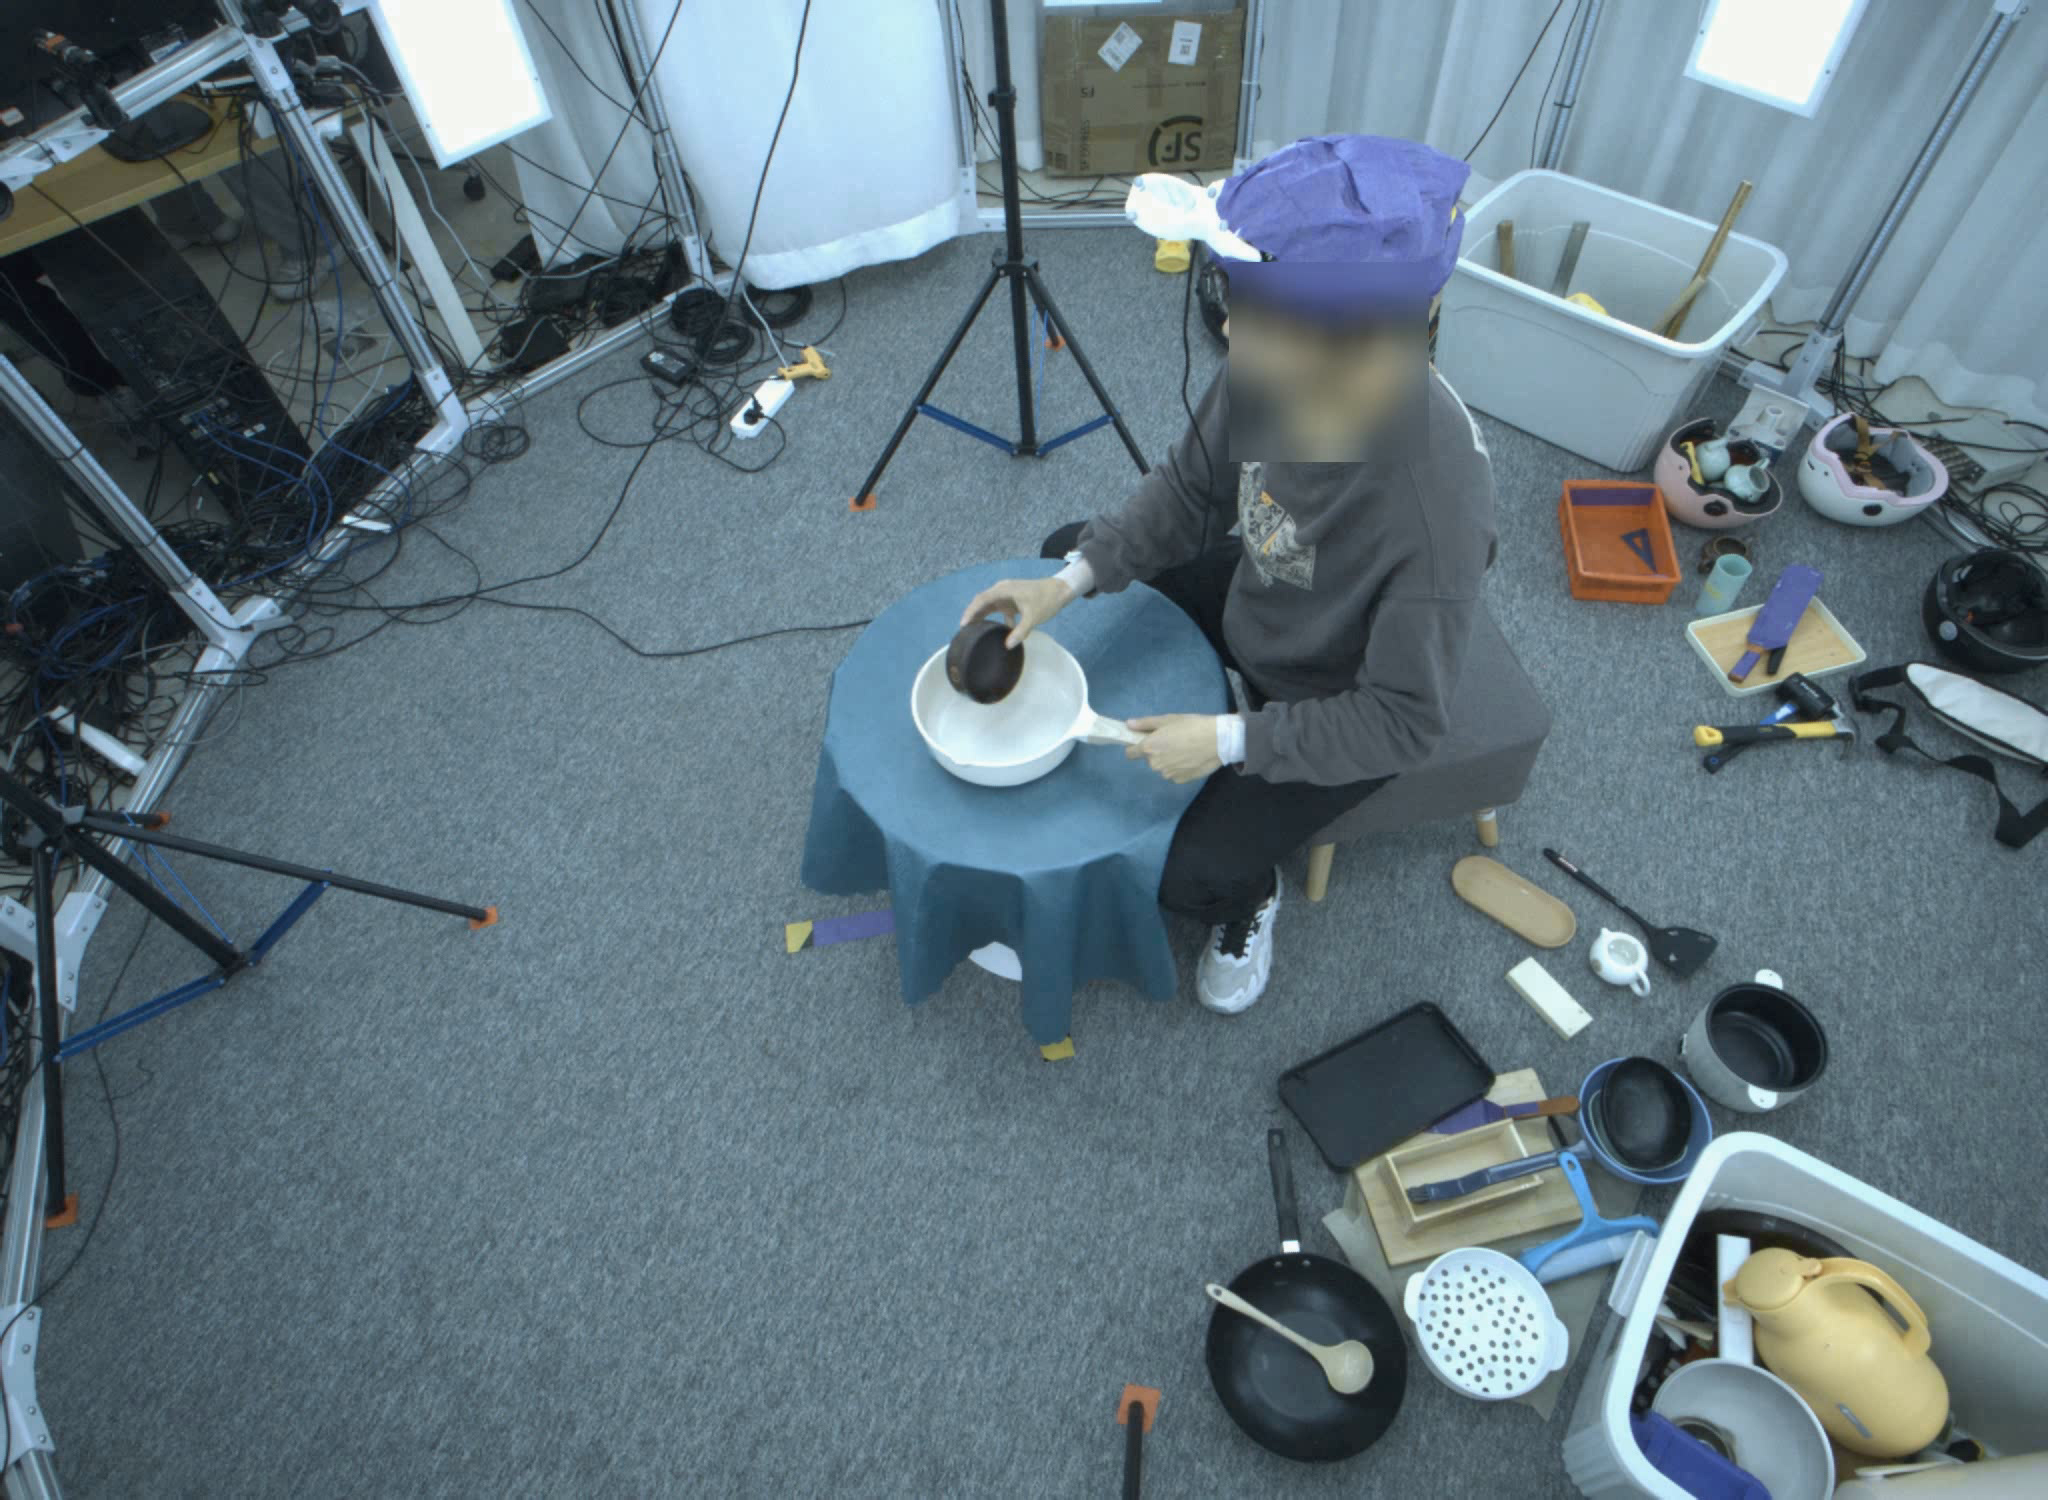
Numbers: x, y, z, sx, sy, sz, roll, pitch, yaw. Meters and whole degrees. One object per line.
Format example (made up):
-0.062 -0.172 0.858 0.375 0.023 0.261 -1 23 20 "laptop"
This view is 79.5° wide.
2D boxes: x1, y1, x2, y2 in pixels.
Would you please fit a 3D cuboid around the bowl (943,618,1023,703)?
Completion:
-0.066 -0.130 1.724 0.068 0.120 0.119 23 57 38 "bowl"

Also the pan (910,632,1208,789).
0.049 -0.028 1.743 0.430 0.103 0.263 19 55 14 "pan"
